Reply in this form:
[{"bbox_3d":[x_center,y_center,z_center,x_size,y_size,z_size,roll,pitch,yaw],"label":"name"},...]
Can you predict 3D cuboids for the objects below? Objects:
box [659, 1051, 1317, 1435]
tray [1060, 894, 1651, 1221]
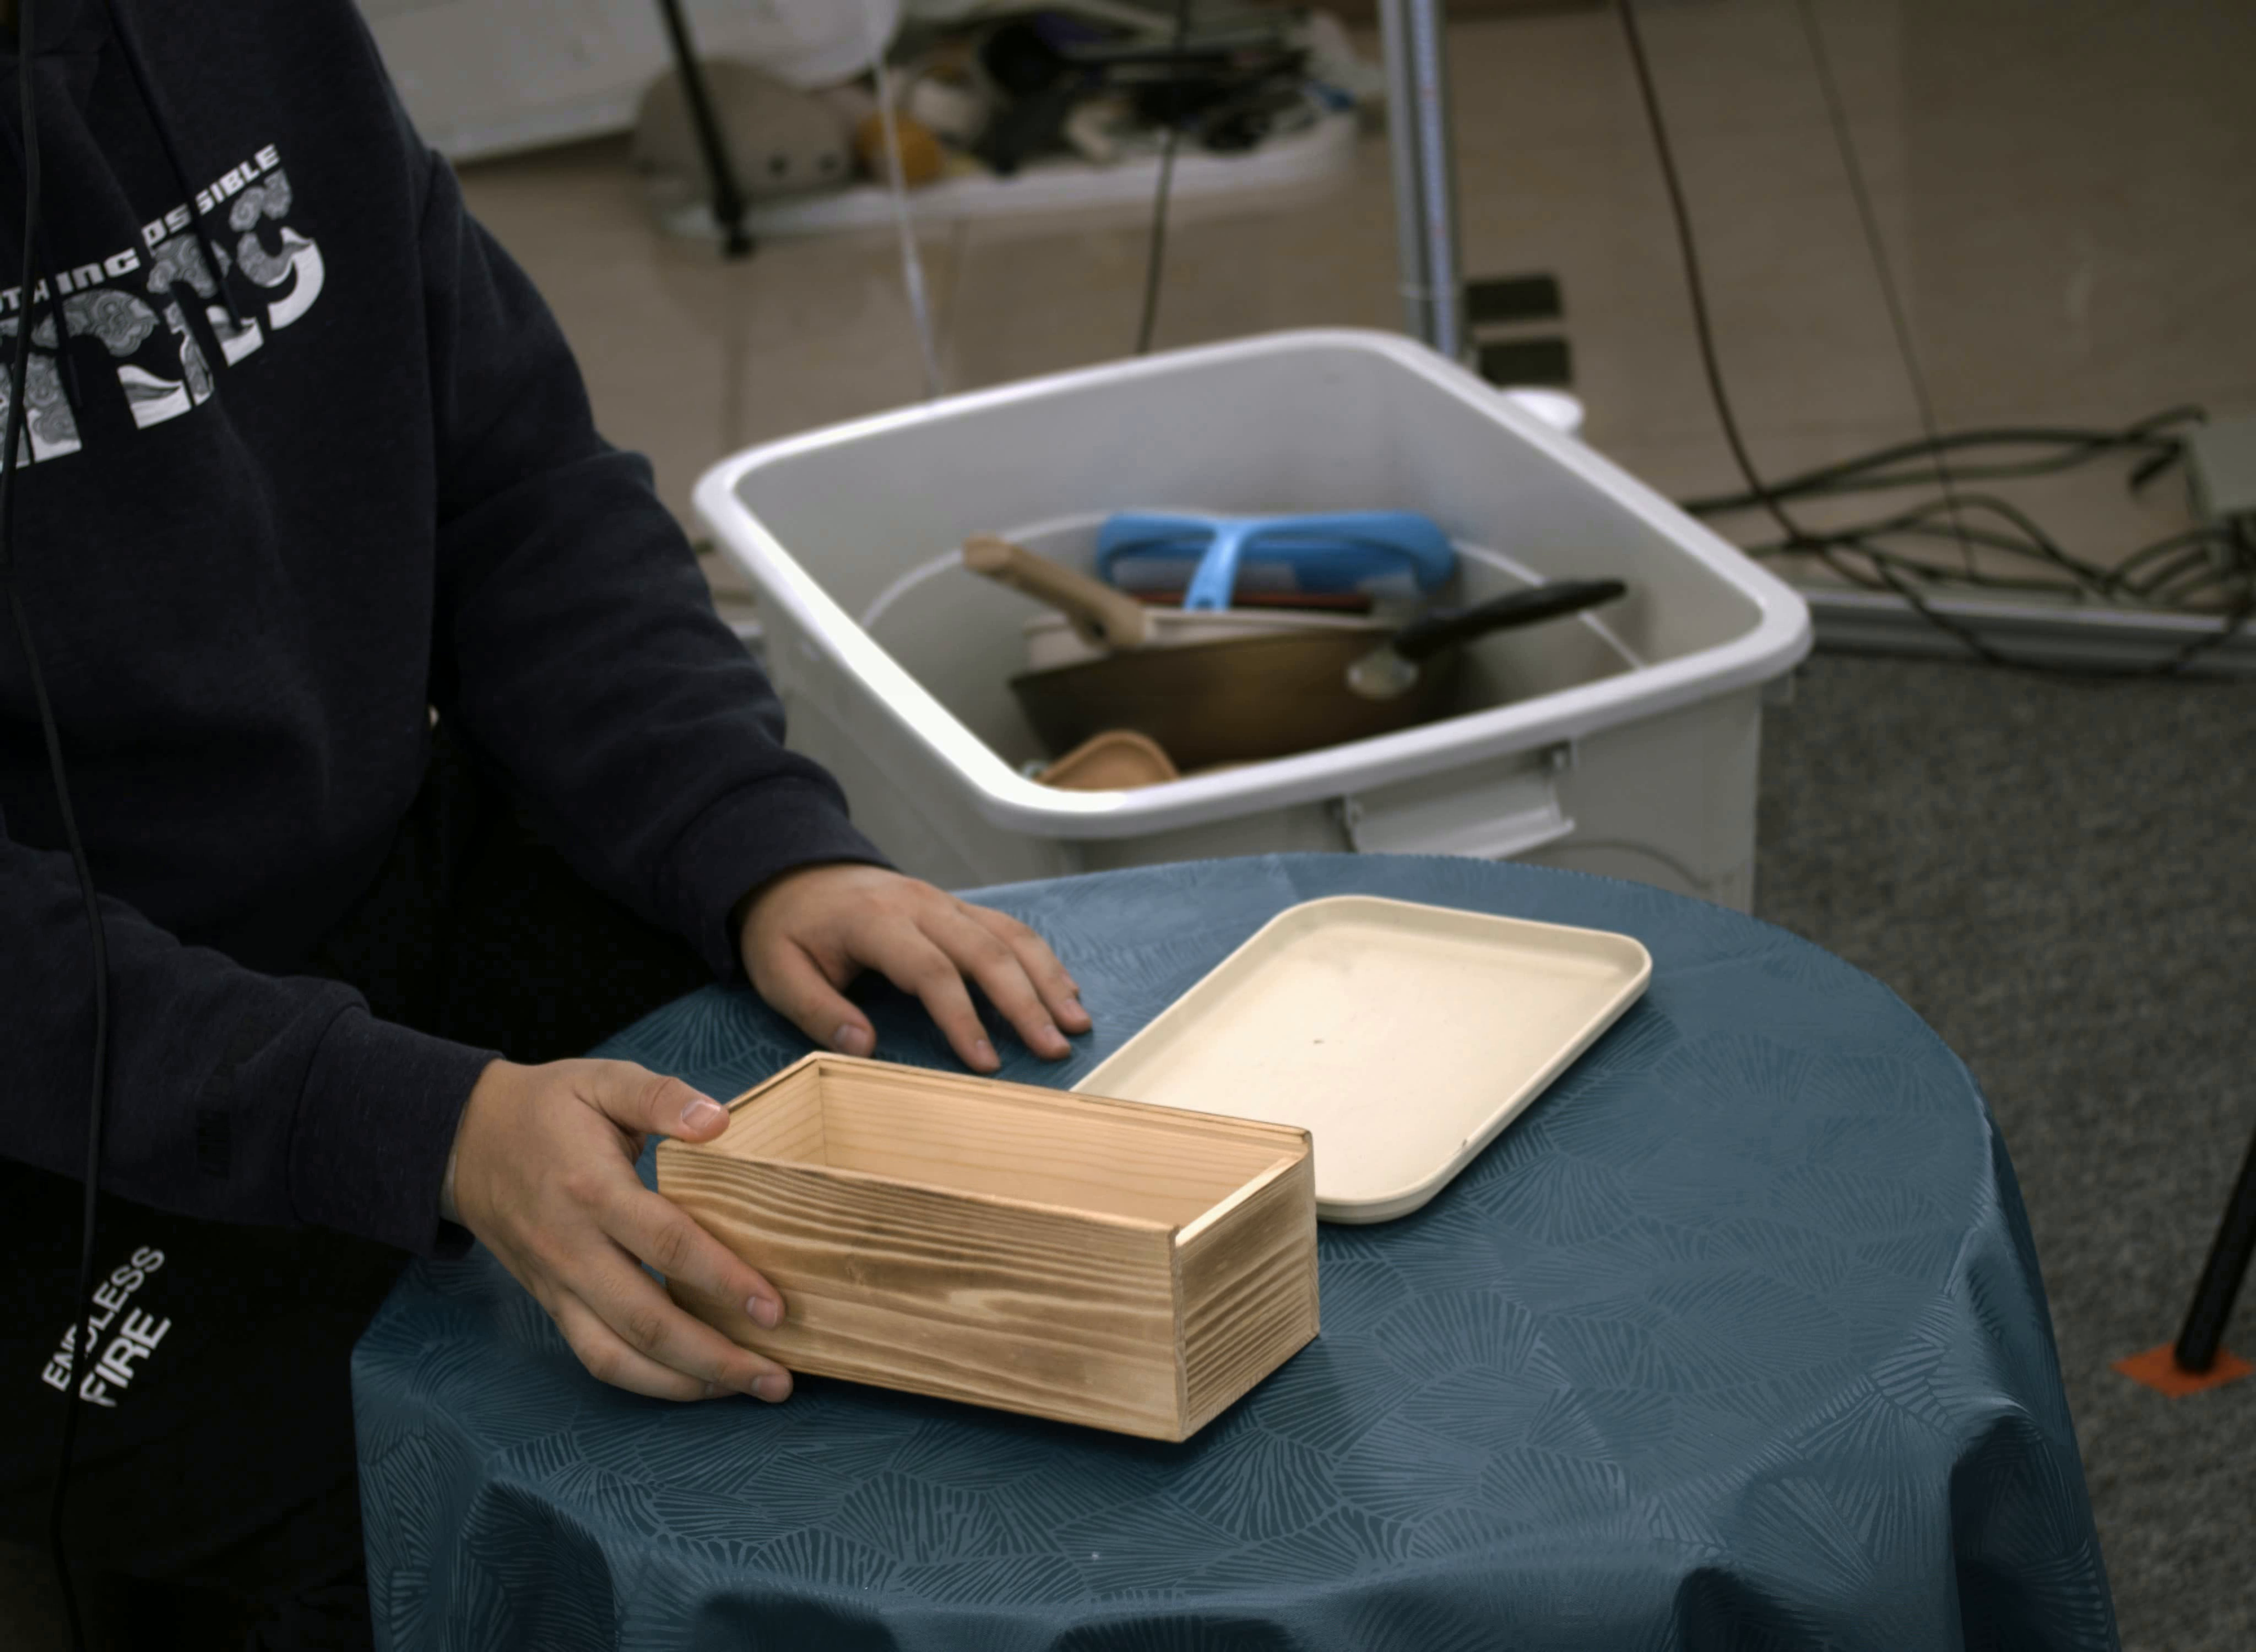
[{"bbox_3d":[-0.050,0.147,2.031,0.210,0.081,0.106,7,20,28],"label":"box"},{"bbox_3d":[0.087,0.089,2.213,0.170,0.018,0.237,8,28,30],"label":"tray"}]
